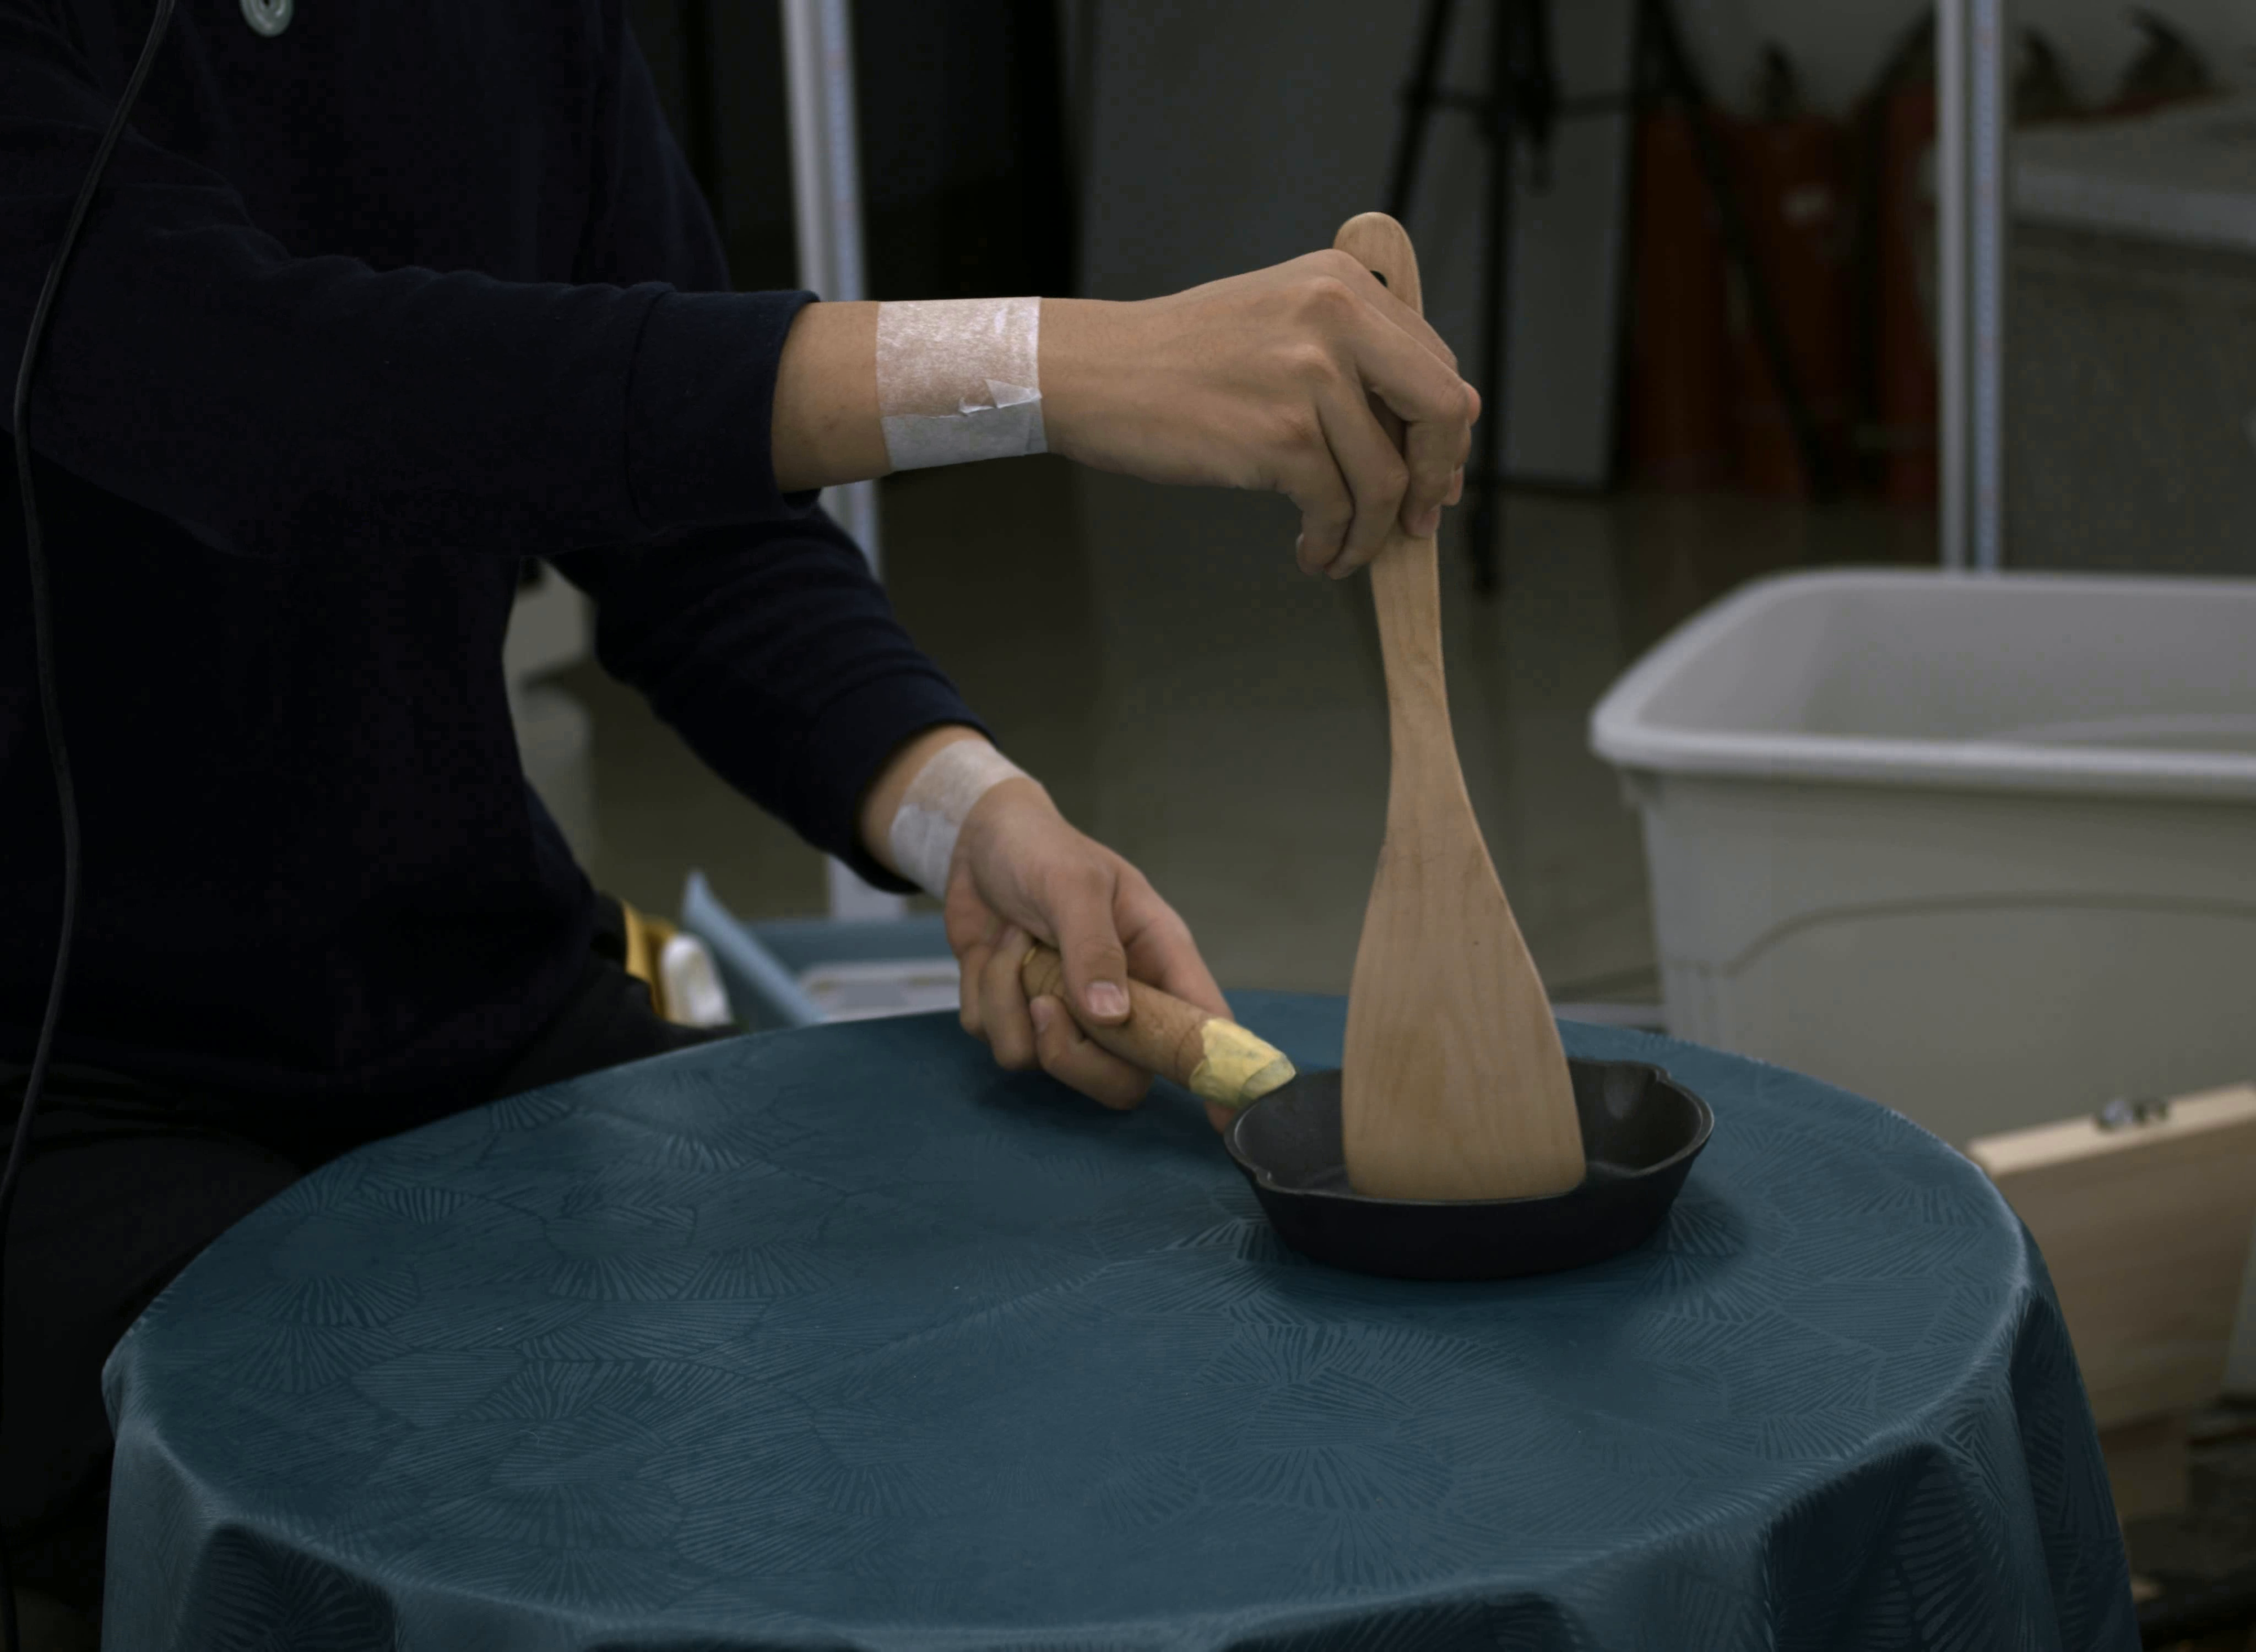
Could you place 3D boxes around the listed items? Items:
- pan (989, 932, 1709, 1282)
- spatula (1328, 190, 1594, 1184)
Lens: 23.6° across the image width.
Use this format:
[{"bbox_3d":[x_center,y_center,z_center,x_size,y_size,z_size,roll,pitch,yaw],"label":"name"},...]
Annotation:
[{"bbox_3d":[0.057,0.088,1.780,0.165,0.050,0.327,-13,18,-35],"label":"pan"},{"bbox_3d":[0.092,-0.032,1.688,0.080,0.332,0.016,-6,2,18],"label":"spatula"}]
